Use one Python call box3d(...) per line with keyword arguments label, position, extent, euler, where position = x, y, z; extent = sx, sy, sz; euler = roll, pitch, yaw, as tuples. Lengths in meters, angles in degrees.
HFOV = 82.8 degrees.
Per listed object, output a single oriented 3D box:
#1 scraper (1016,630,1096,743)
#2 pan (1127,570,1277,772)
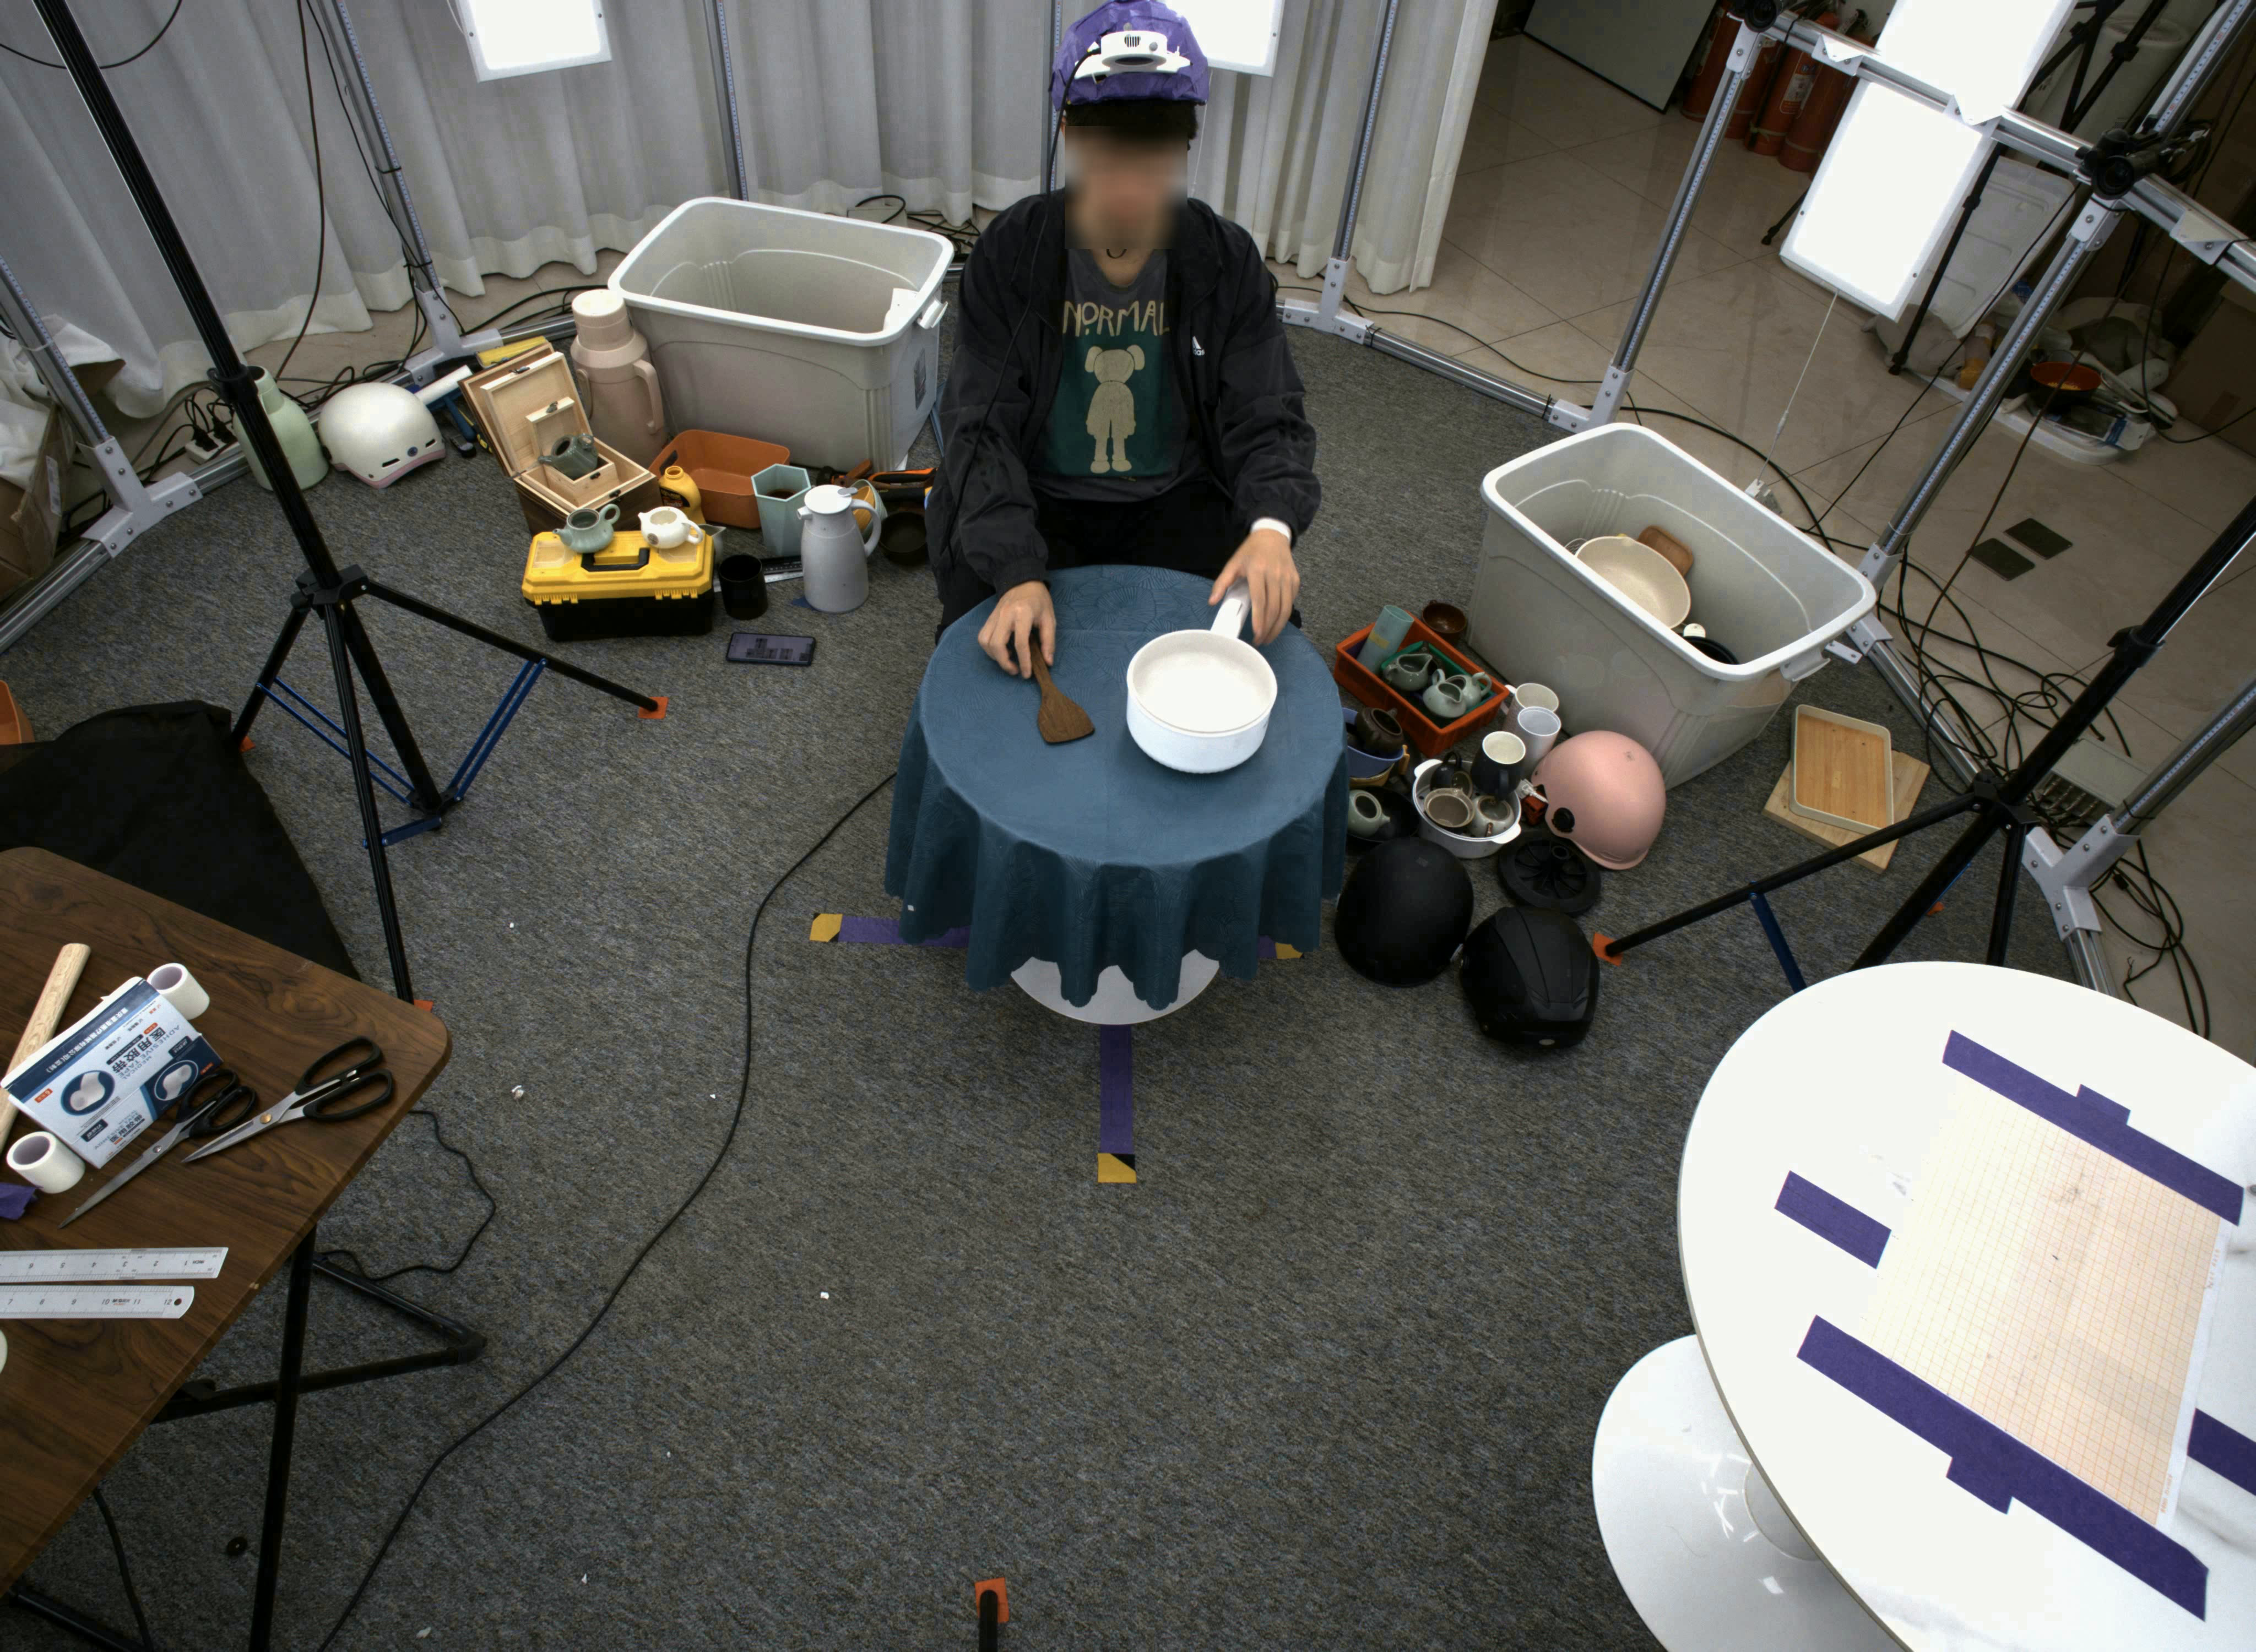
box3d(label="scraper", position=(-0.114, -0.200, 1.818), extent=(0.076, 0.010, 0.216), euler=(-14, 57, -17))
box3d(label="pan", position=(0.121, -0.219, 1.802), extent=(0.202, 0.099, 0.362), euler=(16, 48, 10))
